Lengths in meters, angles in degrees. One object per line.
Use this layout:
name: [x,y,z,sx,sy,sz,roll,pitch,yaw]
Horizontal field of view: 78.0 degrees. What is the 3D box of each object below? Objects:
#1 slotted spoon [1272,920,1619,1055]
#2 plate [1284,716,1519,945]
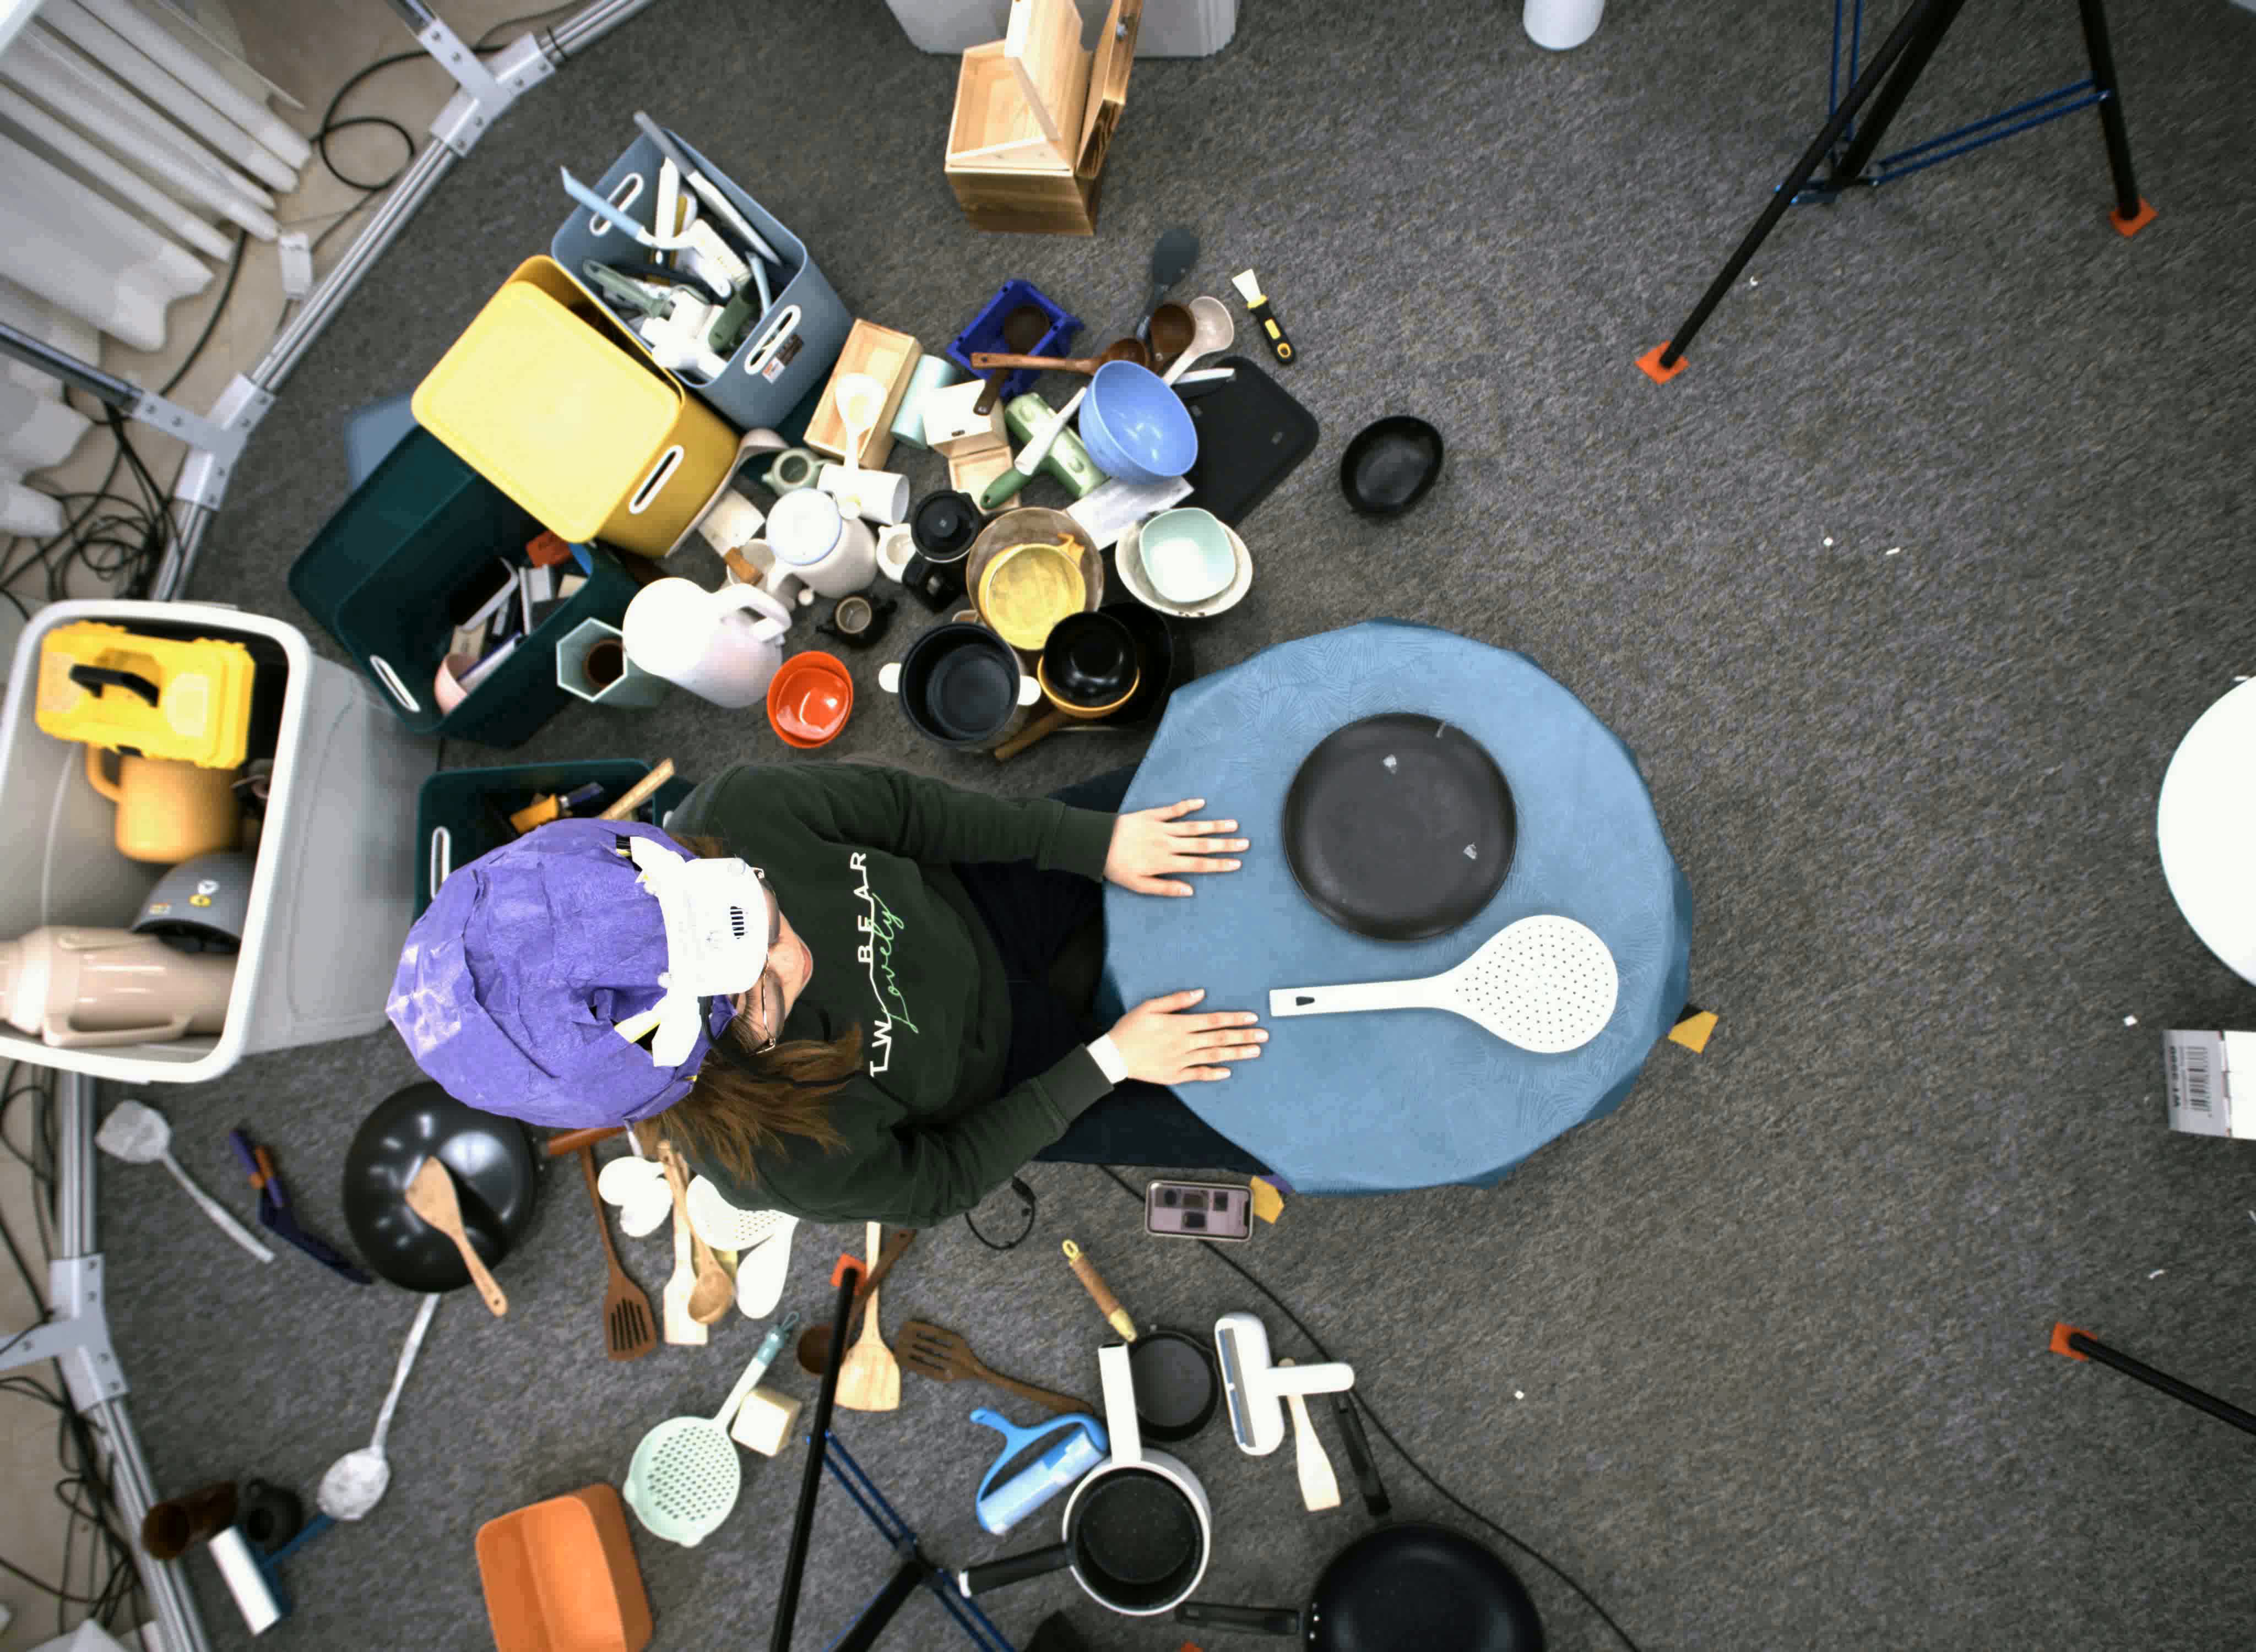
slotted spoon: [0.322,0.172,1.425,0.351,0.046,0.135,-5,83,11]
plate: [0.288,0.003,1.454,0.245,0.023,0.243,-1,86,10]
